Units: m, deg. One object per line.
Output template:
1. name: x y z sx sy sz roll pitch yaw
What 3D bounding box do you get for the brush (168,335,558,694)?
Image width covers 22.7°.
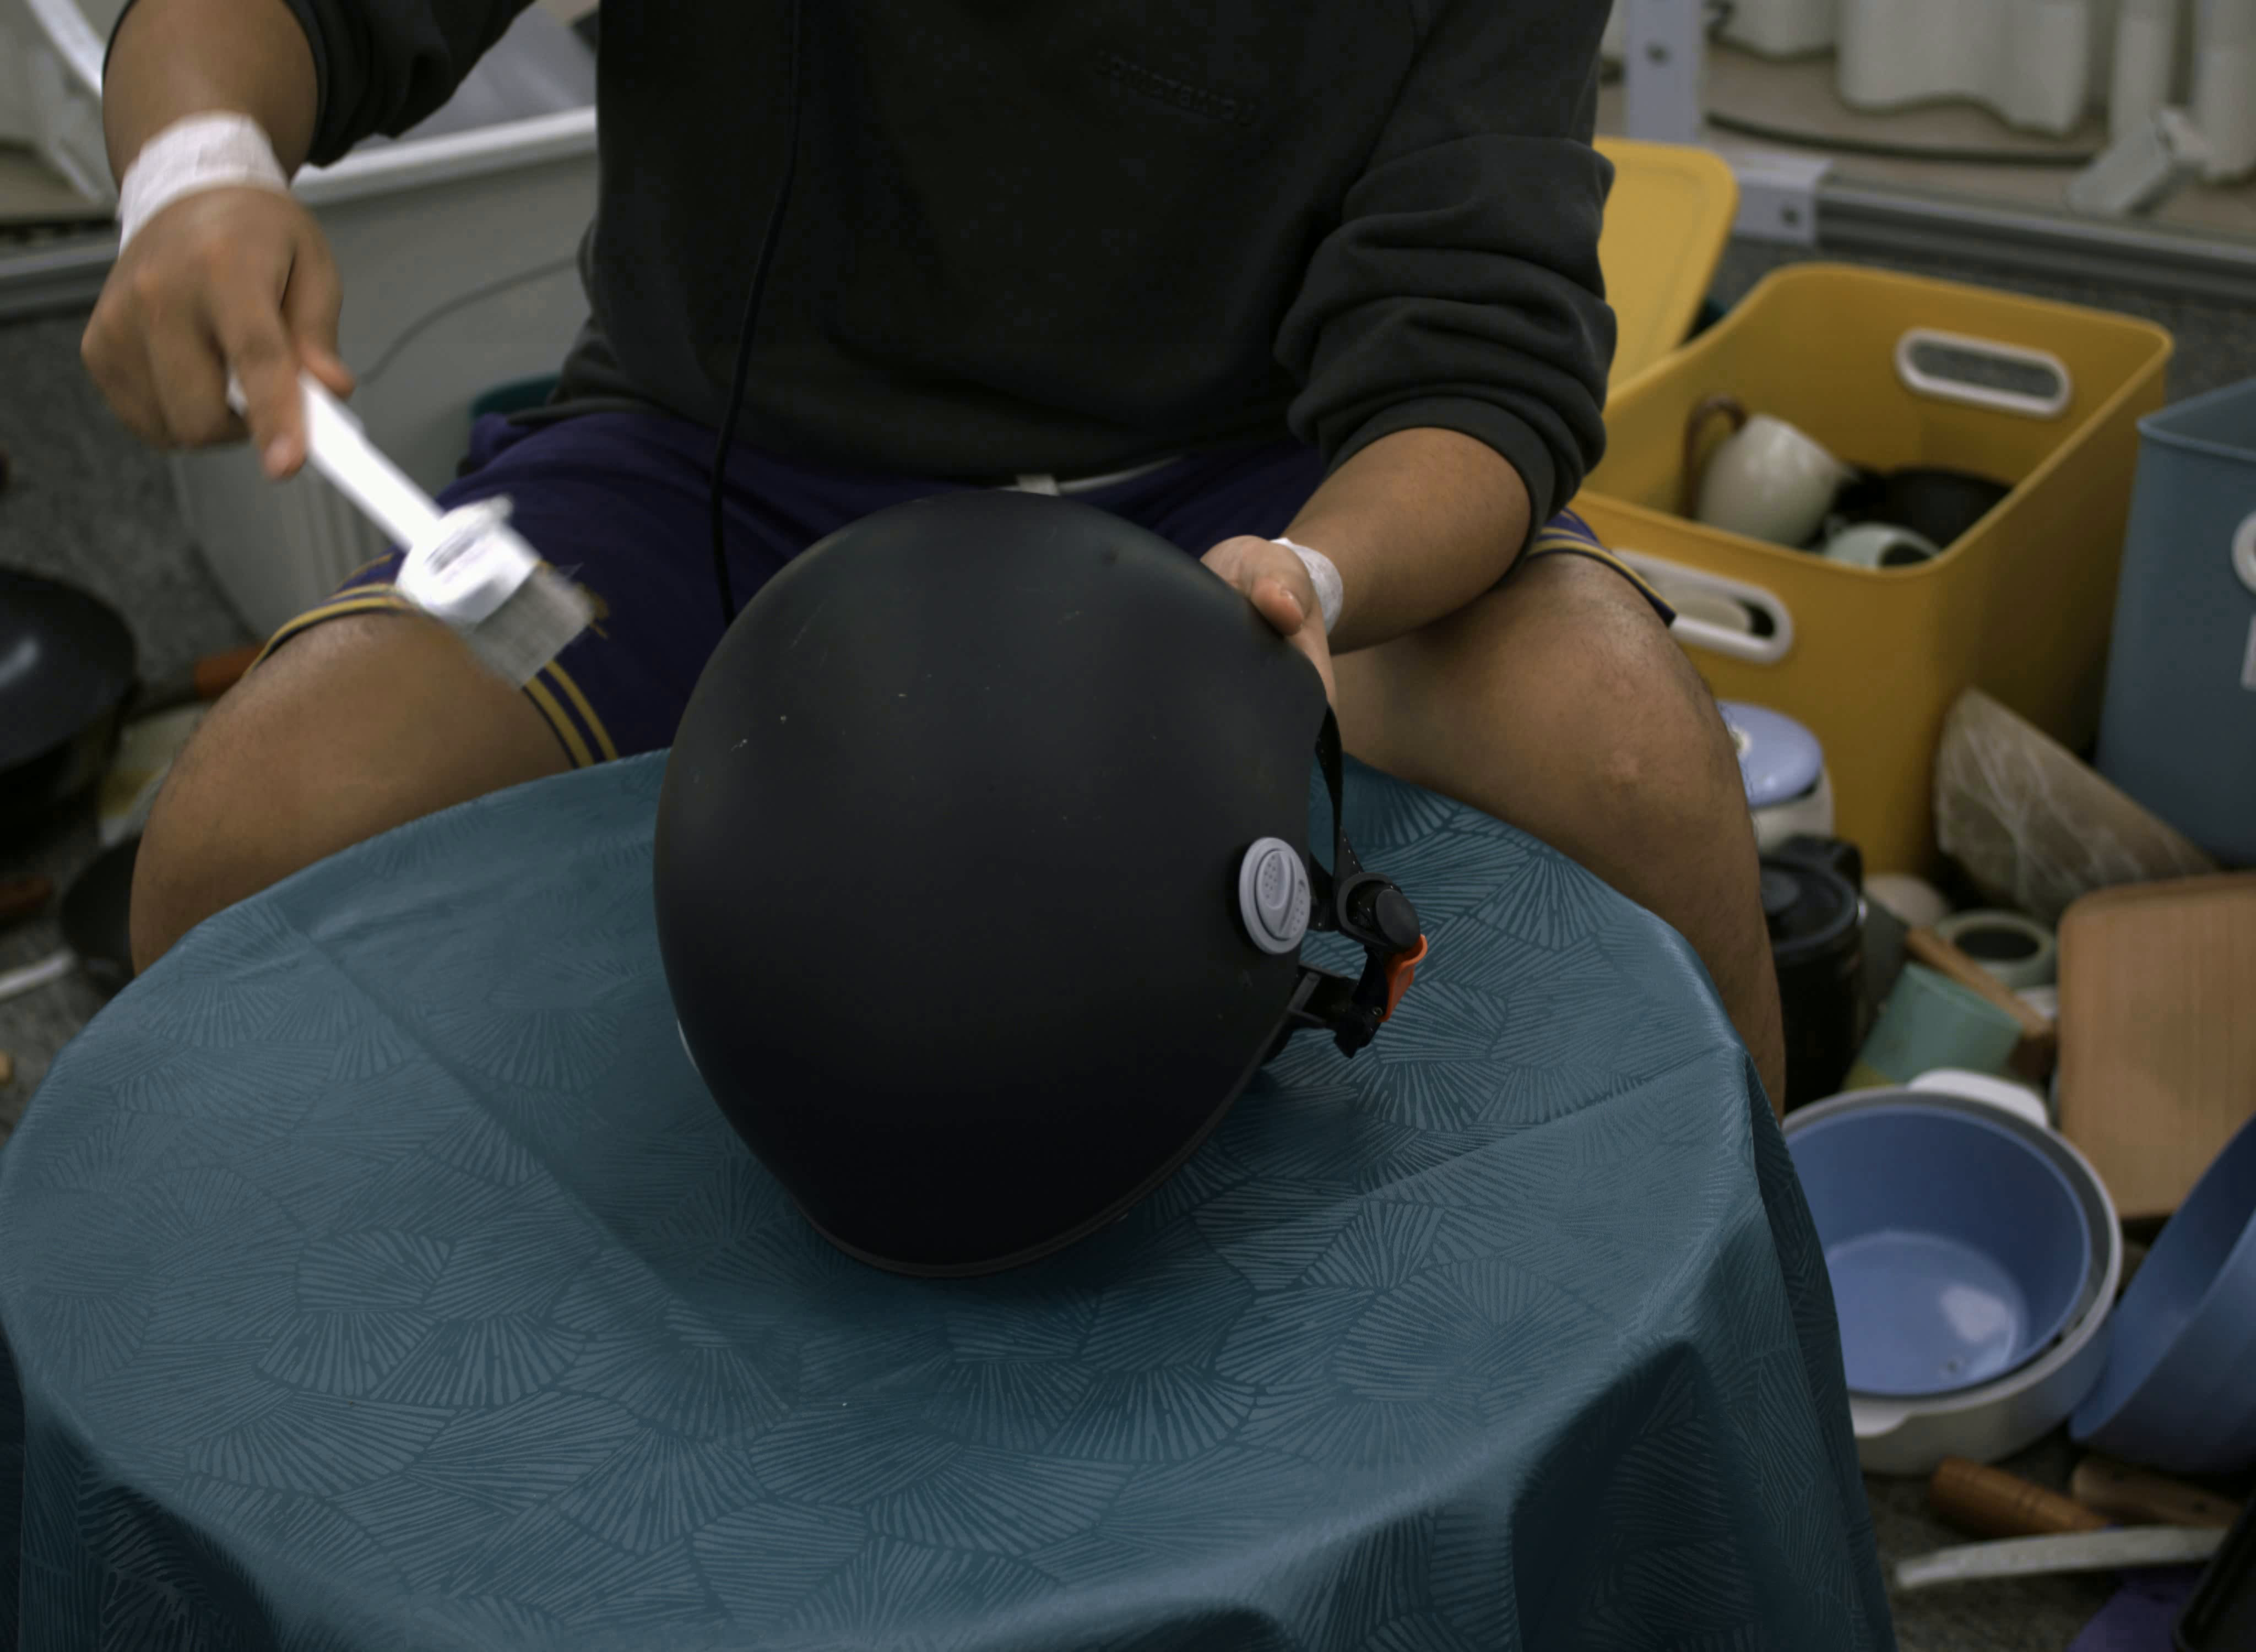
1. brush: -0.245 -0.100 1.806 0.034 0.050 0.245 -45 38 -5

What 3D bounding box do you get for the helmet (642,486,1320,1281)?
1. helmet: -0.061 -0.003 1.841 0.227 0.165 0.279 -15 43 29
